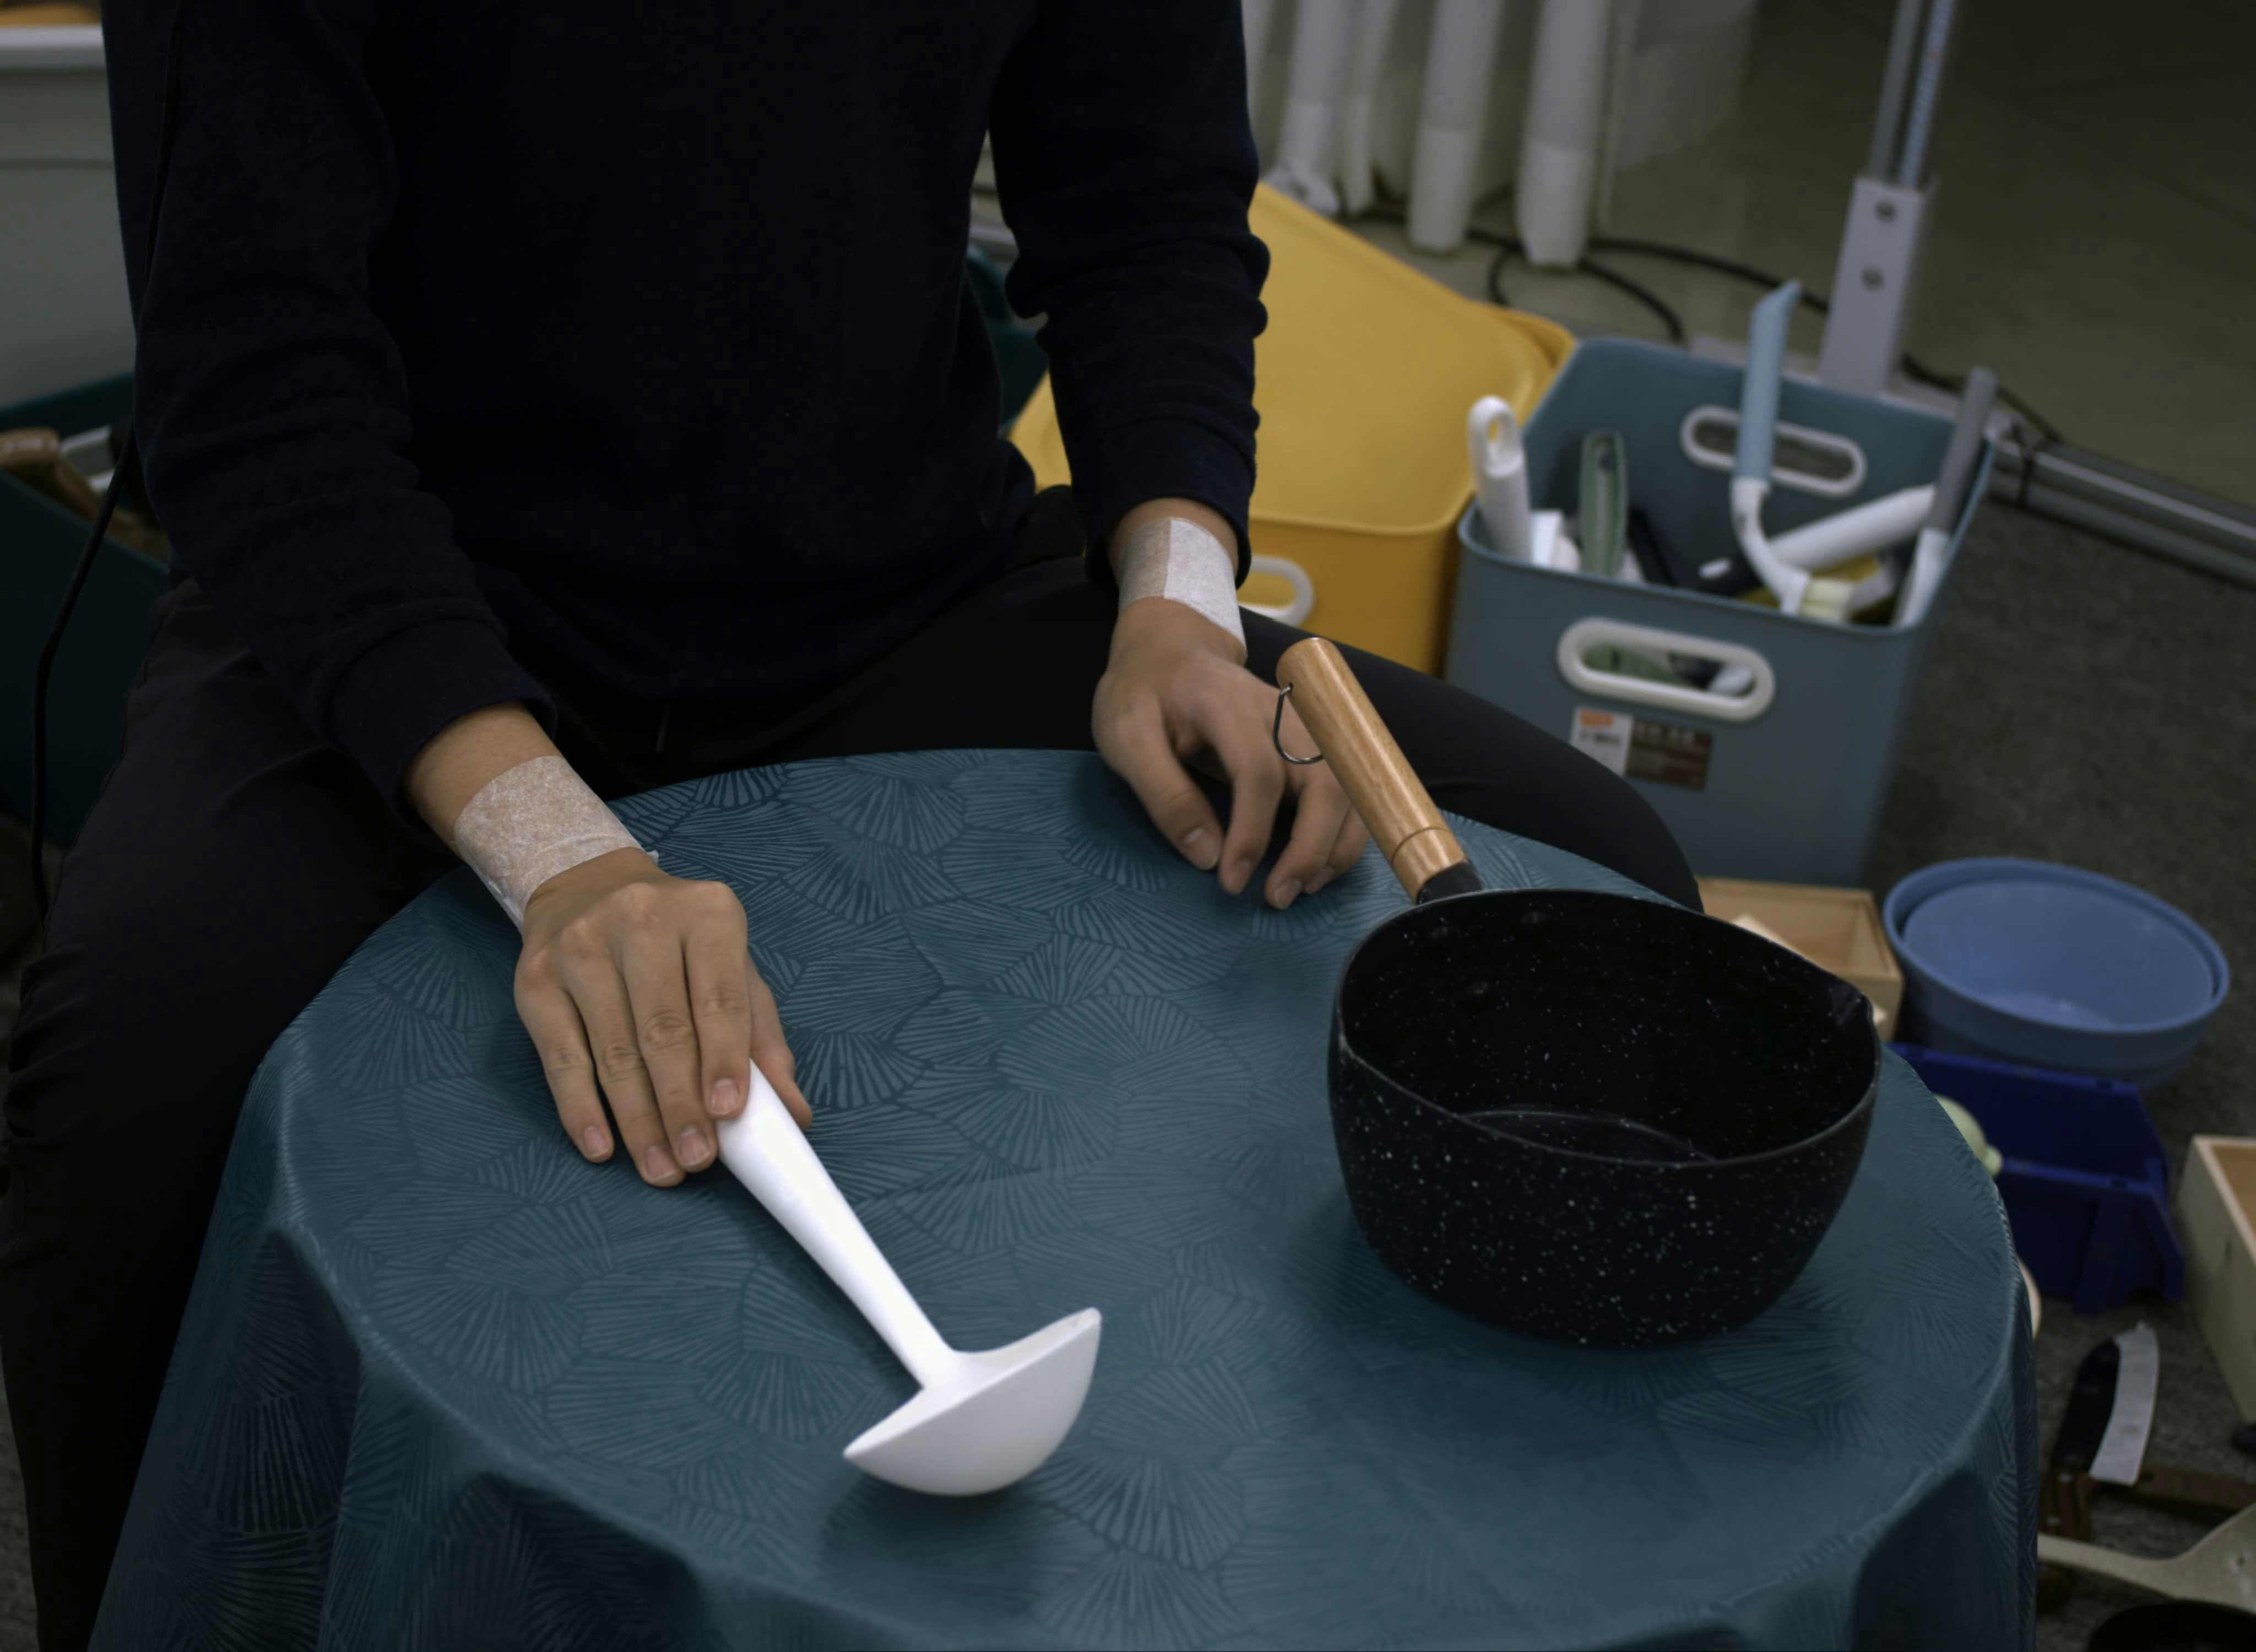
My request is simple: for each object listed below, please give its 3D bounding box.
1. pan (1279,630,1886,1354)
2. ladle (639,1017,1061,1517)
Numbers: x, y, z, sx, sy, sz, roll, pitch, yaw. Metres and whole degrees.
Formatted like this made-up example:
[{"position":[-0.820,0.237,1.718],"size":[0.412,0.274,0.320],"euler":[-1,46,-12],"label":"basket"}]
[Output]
[{"position":[0.125,0.054,1.847],"size":[0.206,0.108,0.346],"euler":[-7,31,-23],"label":"pan"},{"position":[-0.102,0.130,1.709],"size":[0.090,0.069,0.295],"euler":[-34,37,-6],"label":"ladle"}]
